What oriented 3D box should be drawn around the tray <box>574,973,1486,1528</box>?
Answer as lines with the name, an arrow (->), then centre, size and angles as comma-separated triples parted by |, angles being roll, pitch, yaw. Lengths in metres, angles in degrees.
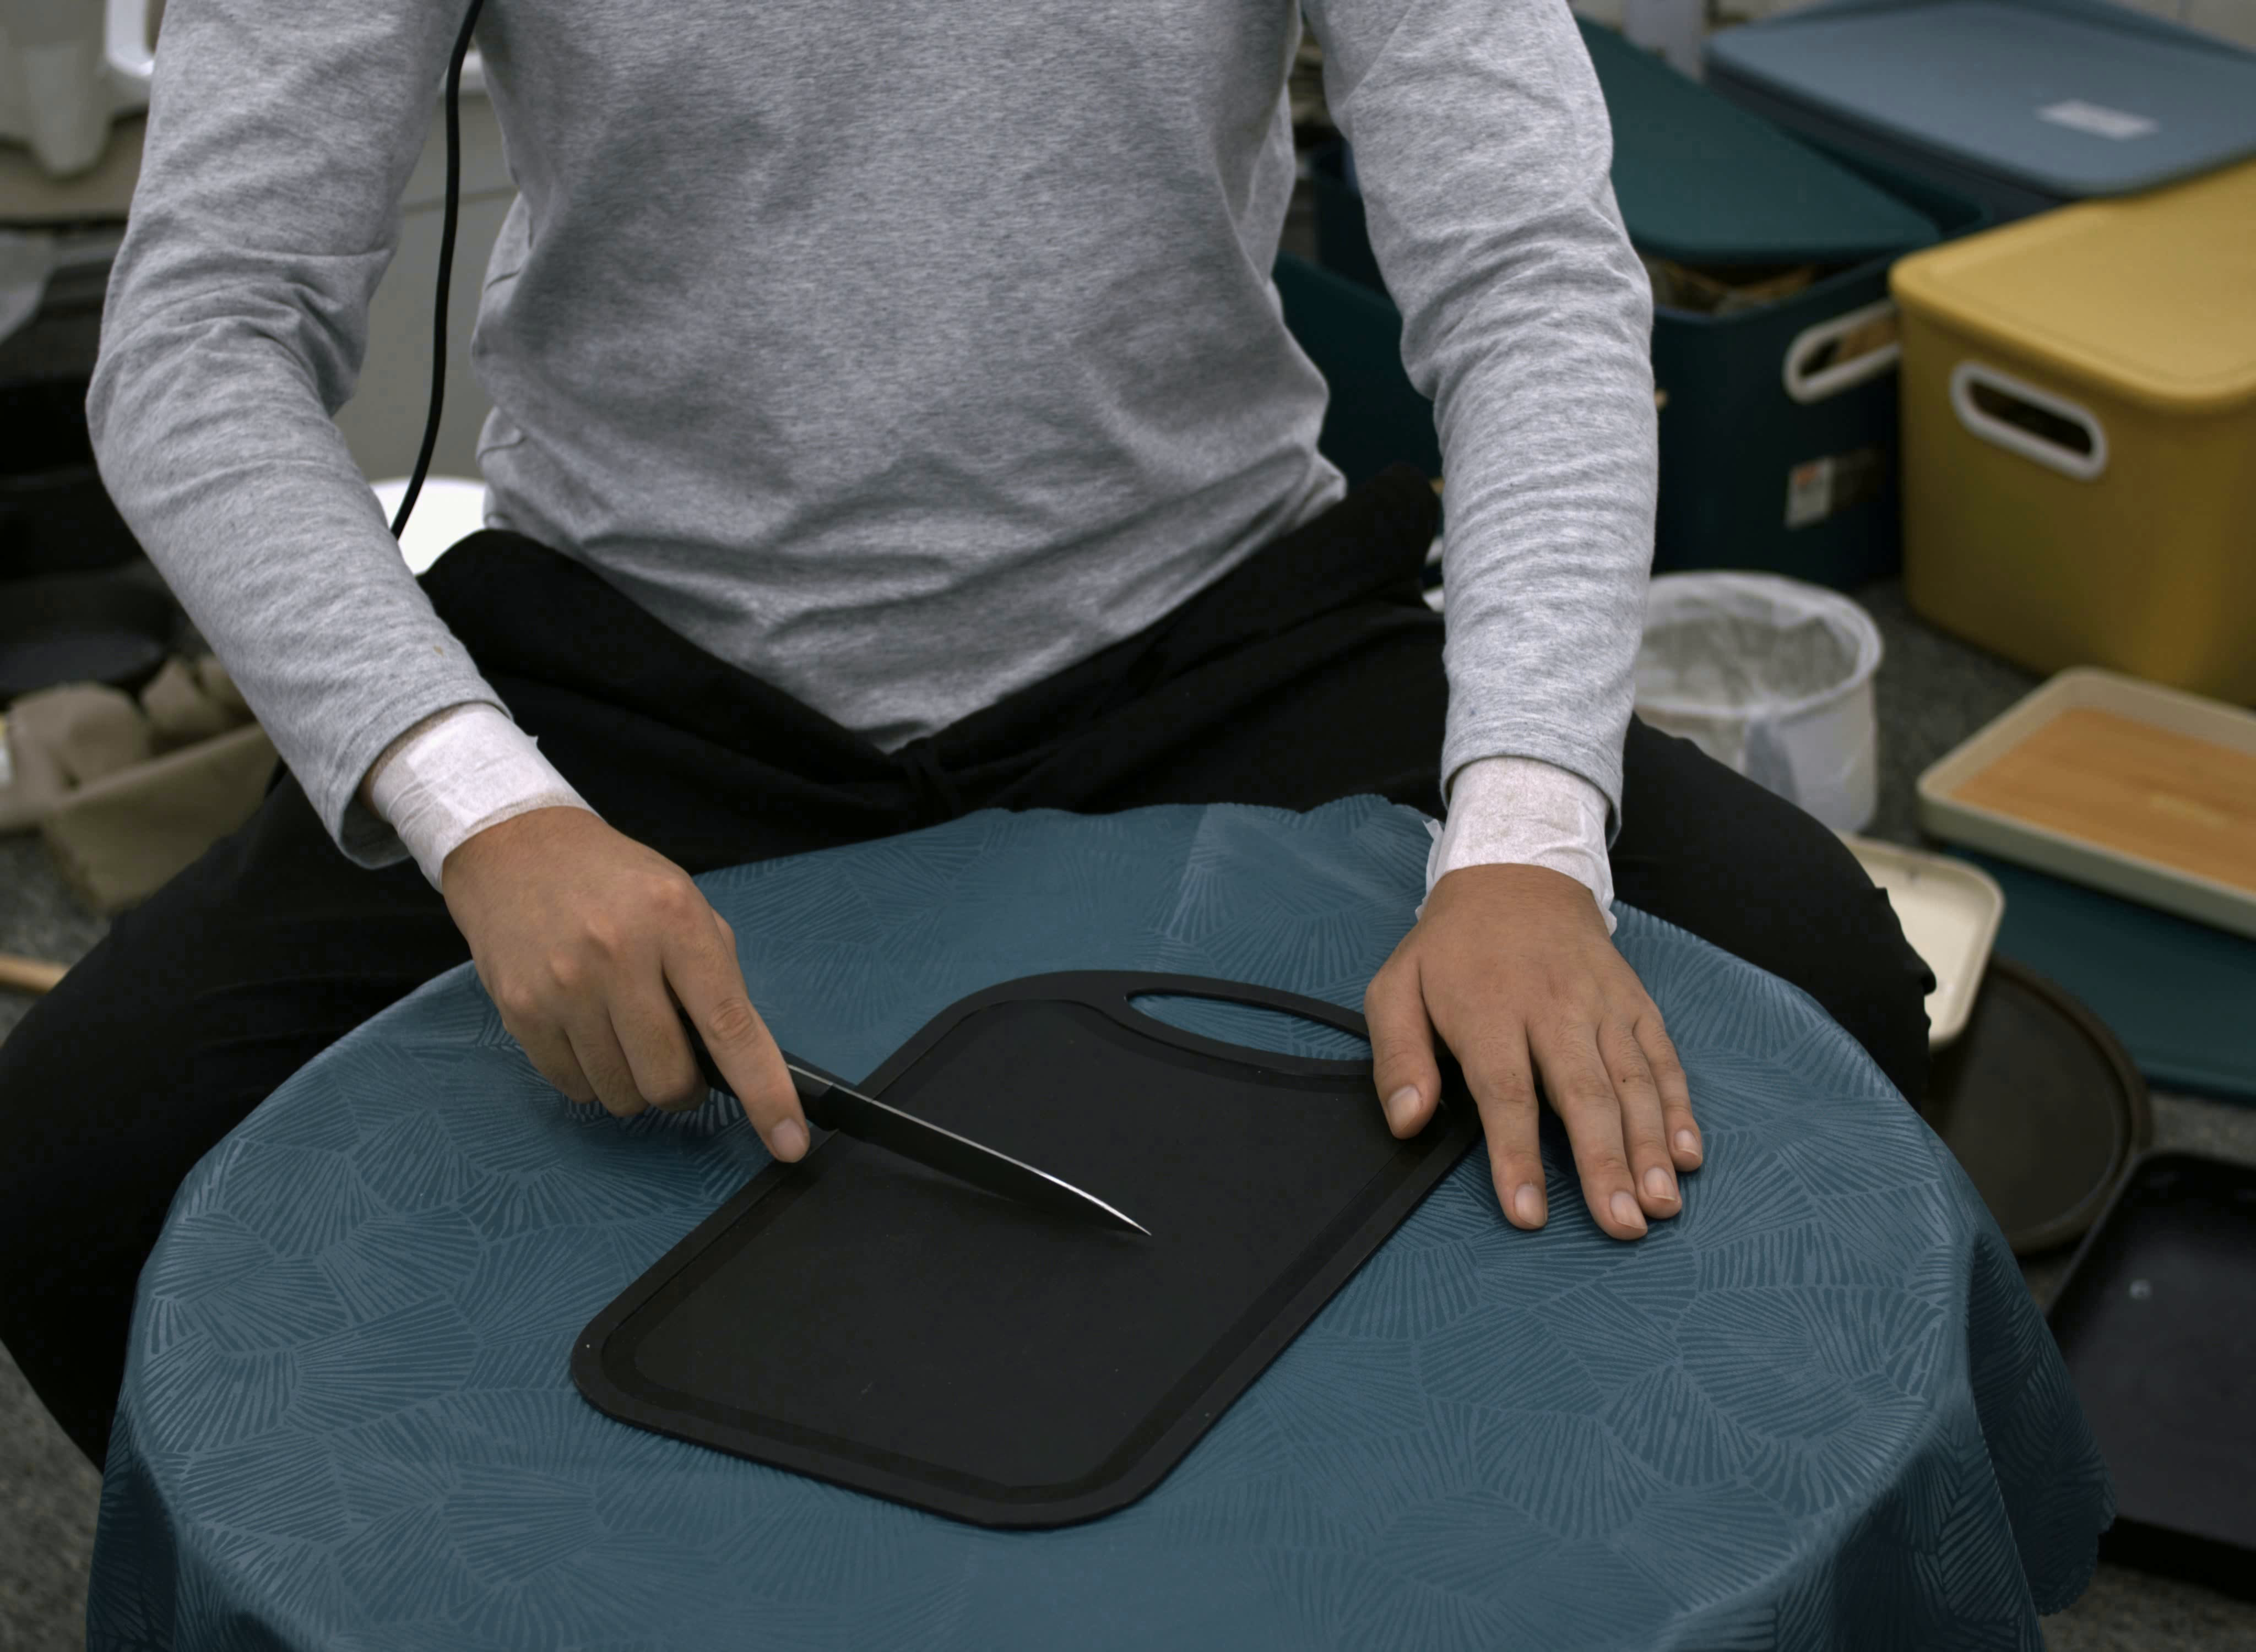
tray -> -0.024, 0.127, 1.846 | 0.210, 0.009, 0.330 | 13, 31, 27

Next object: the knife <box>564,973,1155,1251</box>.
knife -> -0.091, 0.096, 1.874 | 0.237, 0.024, 0.016 | 22, 51, 25
